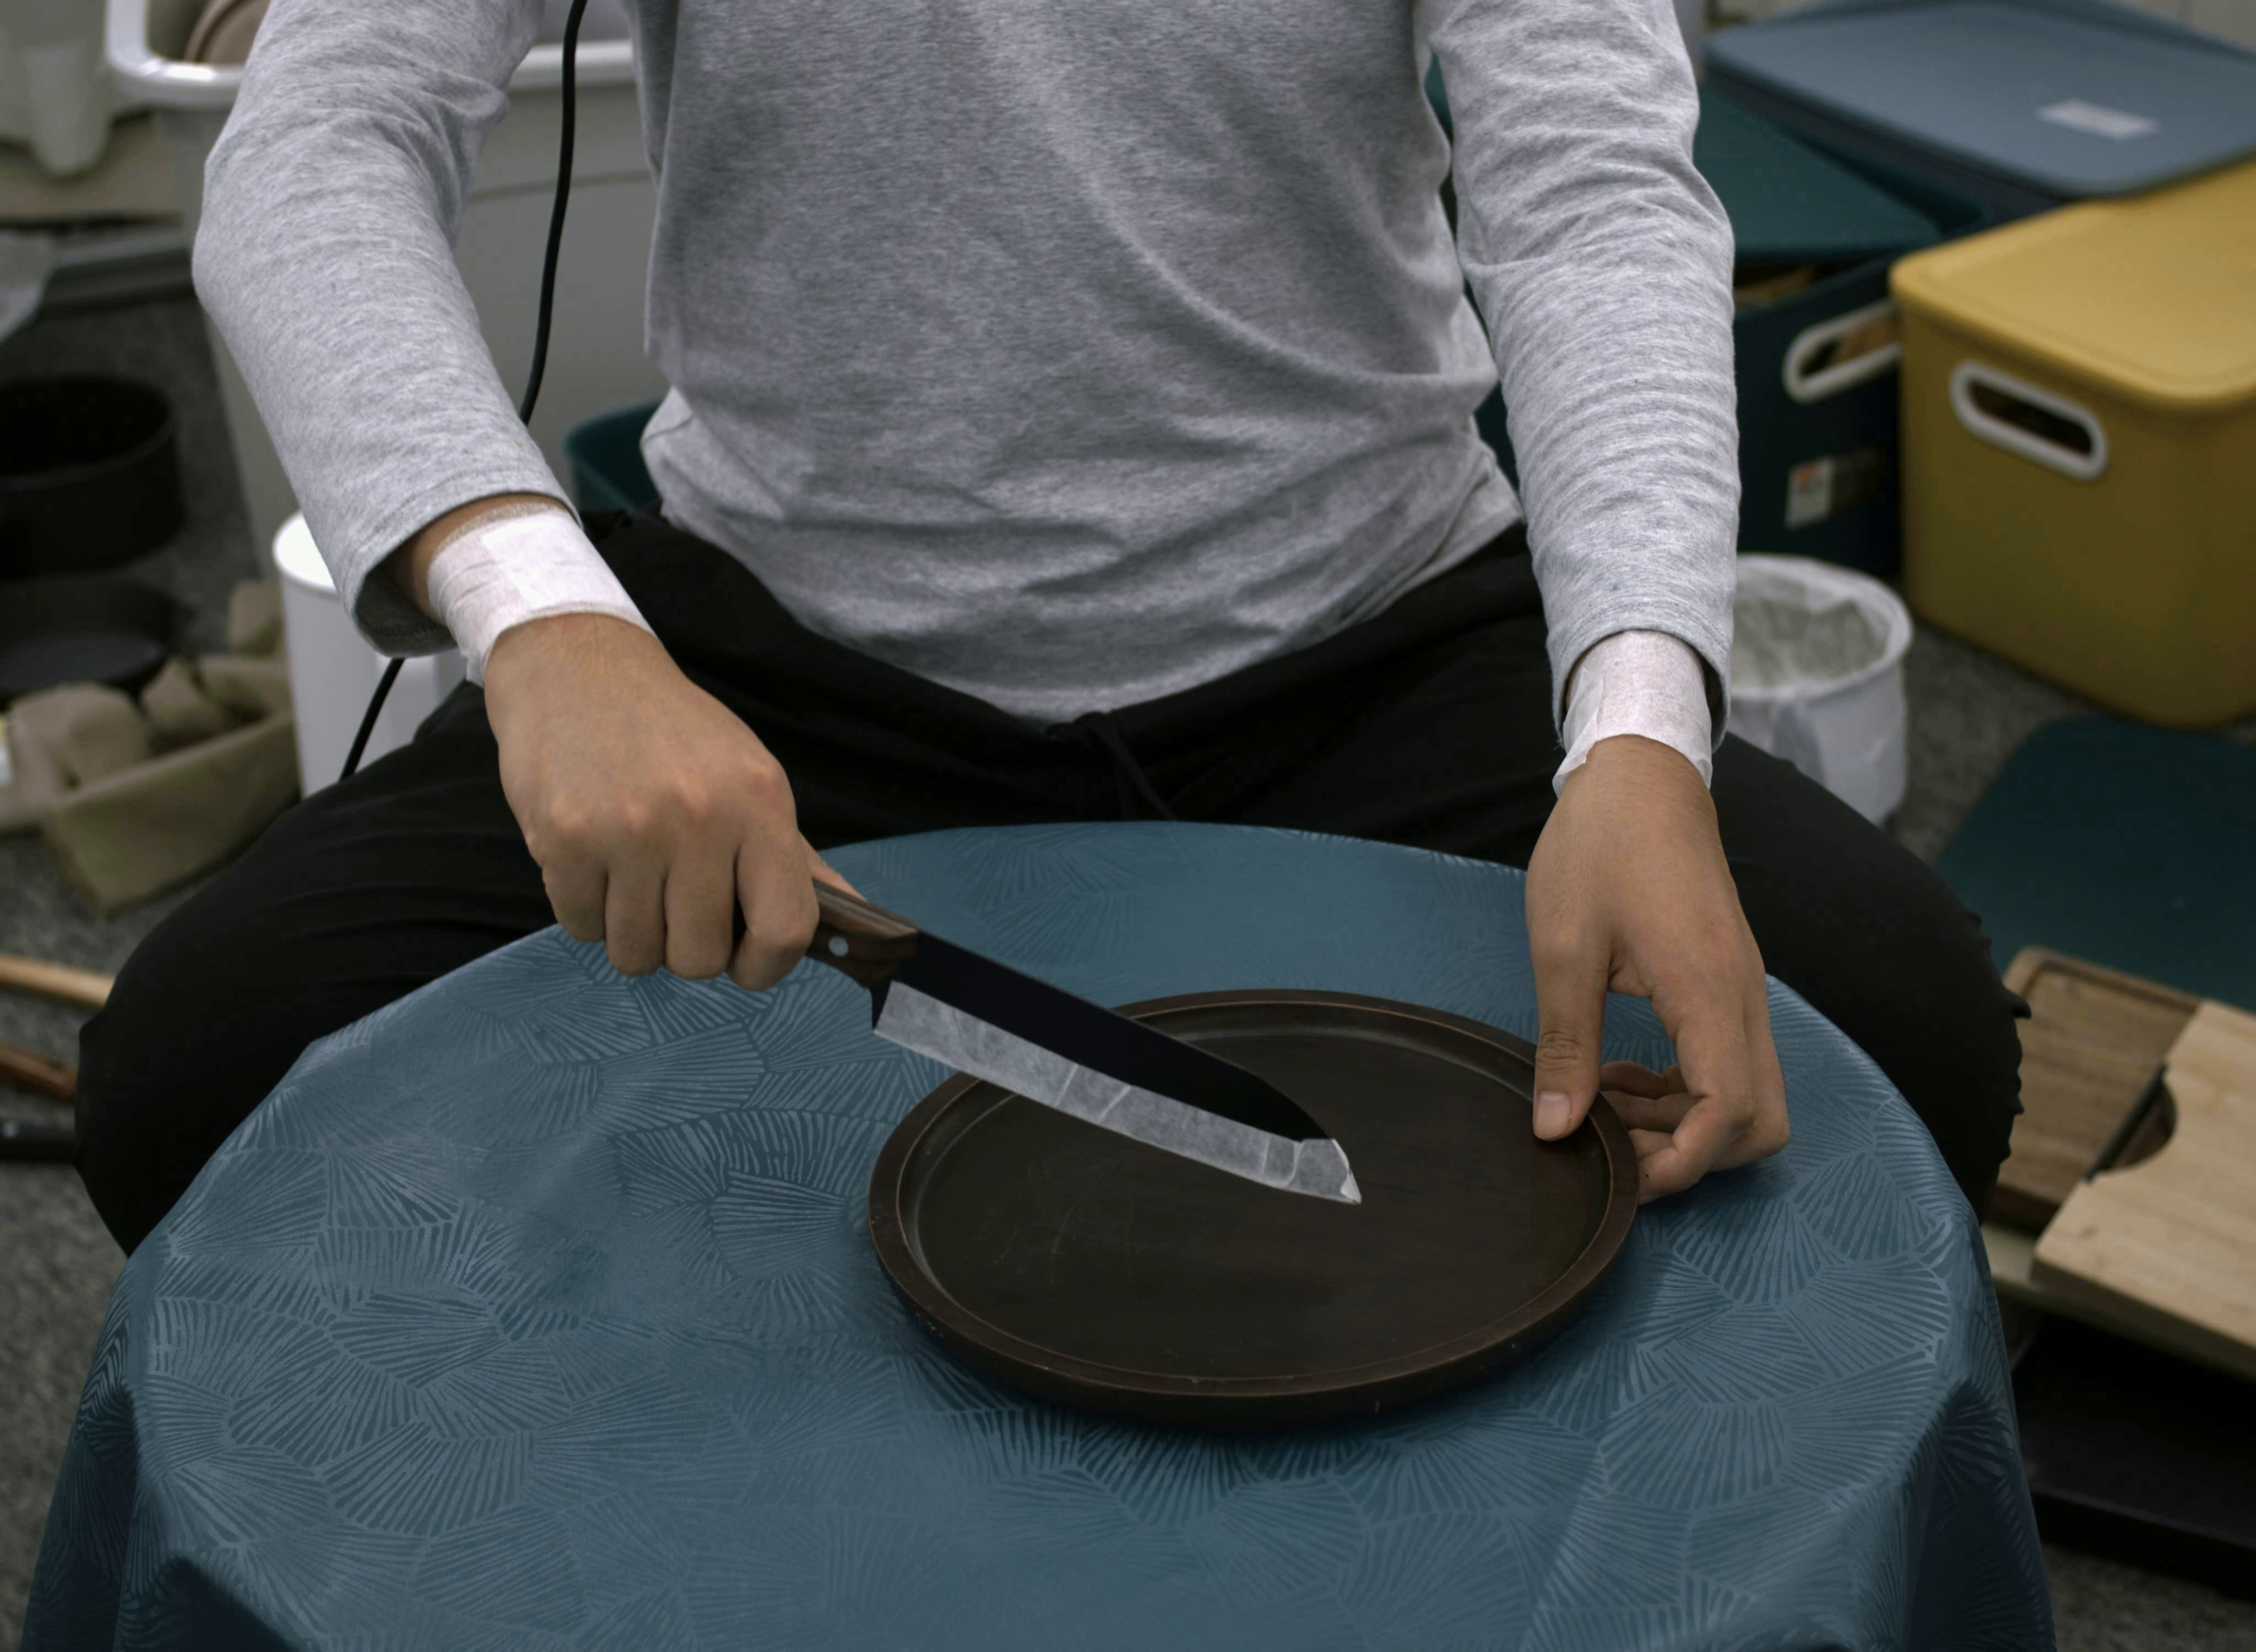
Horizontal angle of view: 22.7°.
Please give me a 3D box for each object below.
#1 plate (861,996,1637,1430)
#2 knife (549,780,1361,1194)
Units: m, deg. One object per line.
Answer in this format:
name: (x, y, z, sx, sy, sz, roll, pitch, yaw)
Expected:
plate: (0.040, 0.123, 1.828, 0.253, 0.029, 0.258, -4, 26, 2)
knife: (-0.055, 0.053, 1.795, 0.288, 0.049, 0.020, 25, 31, 4)
